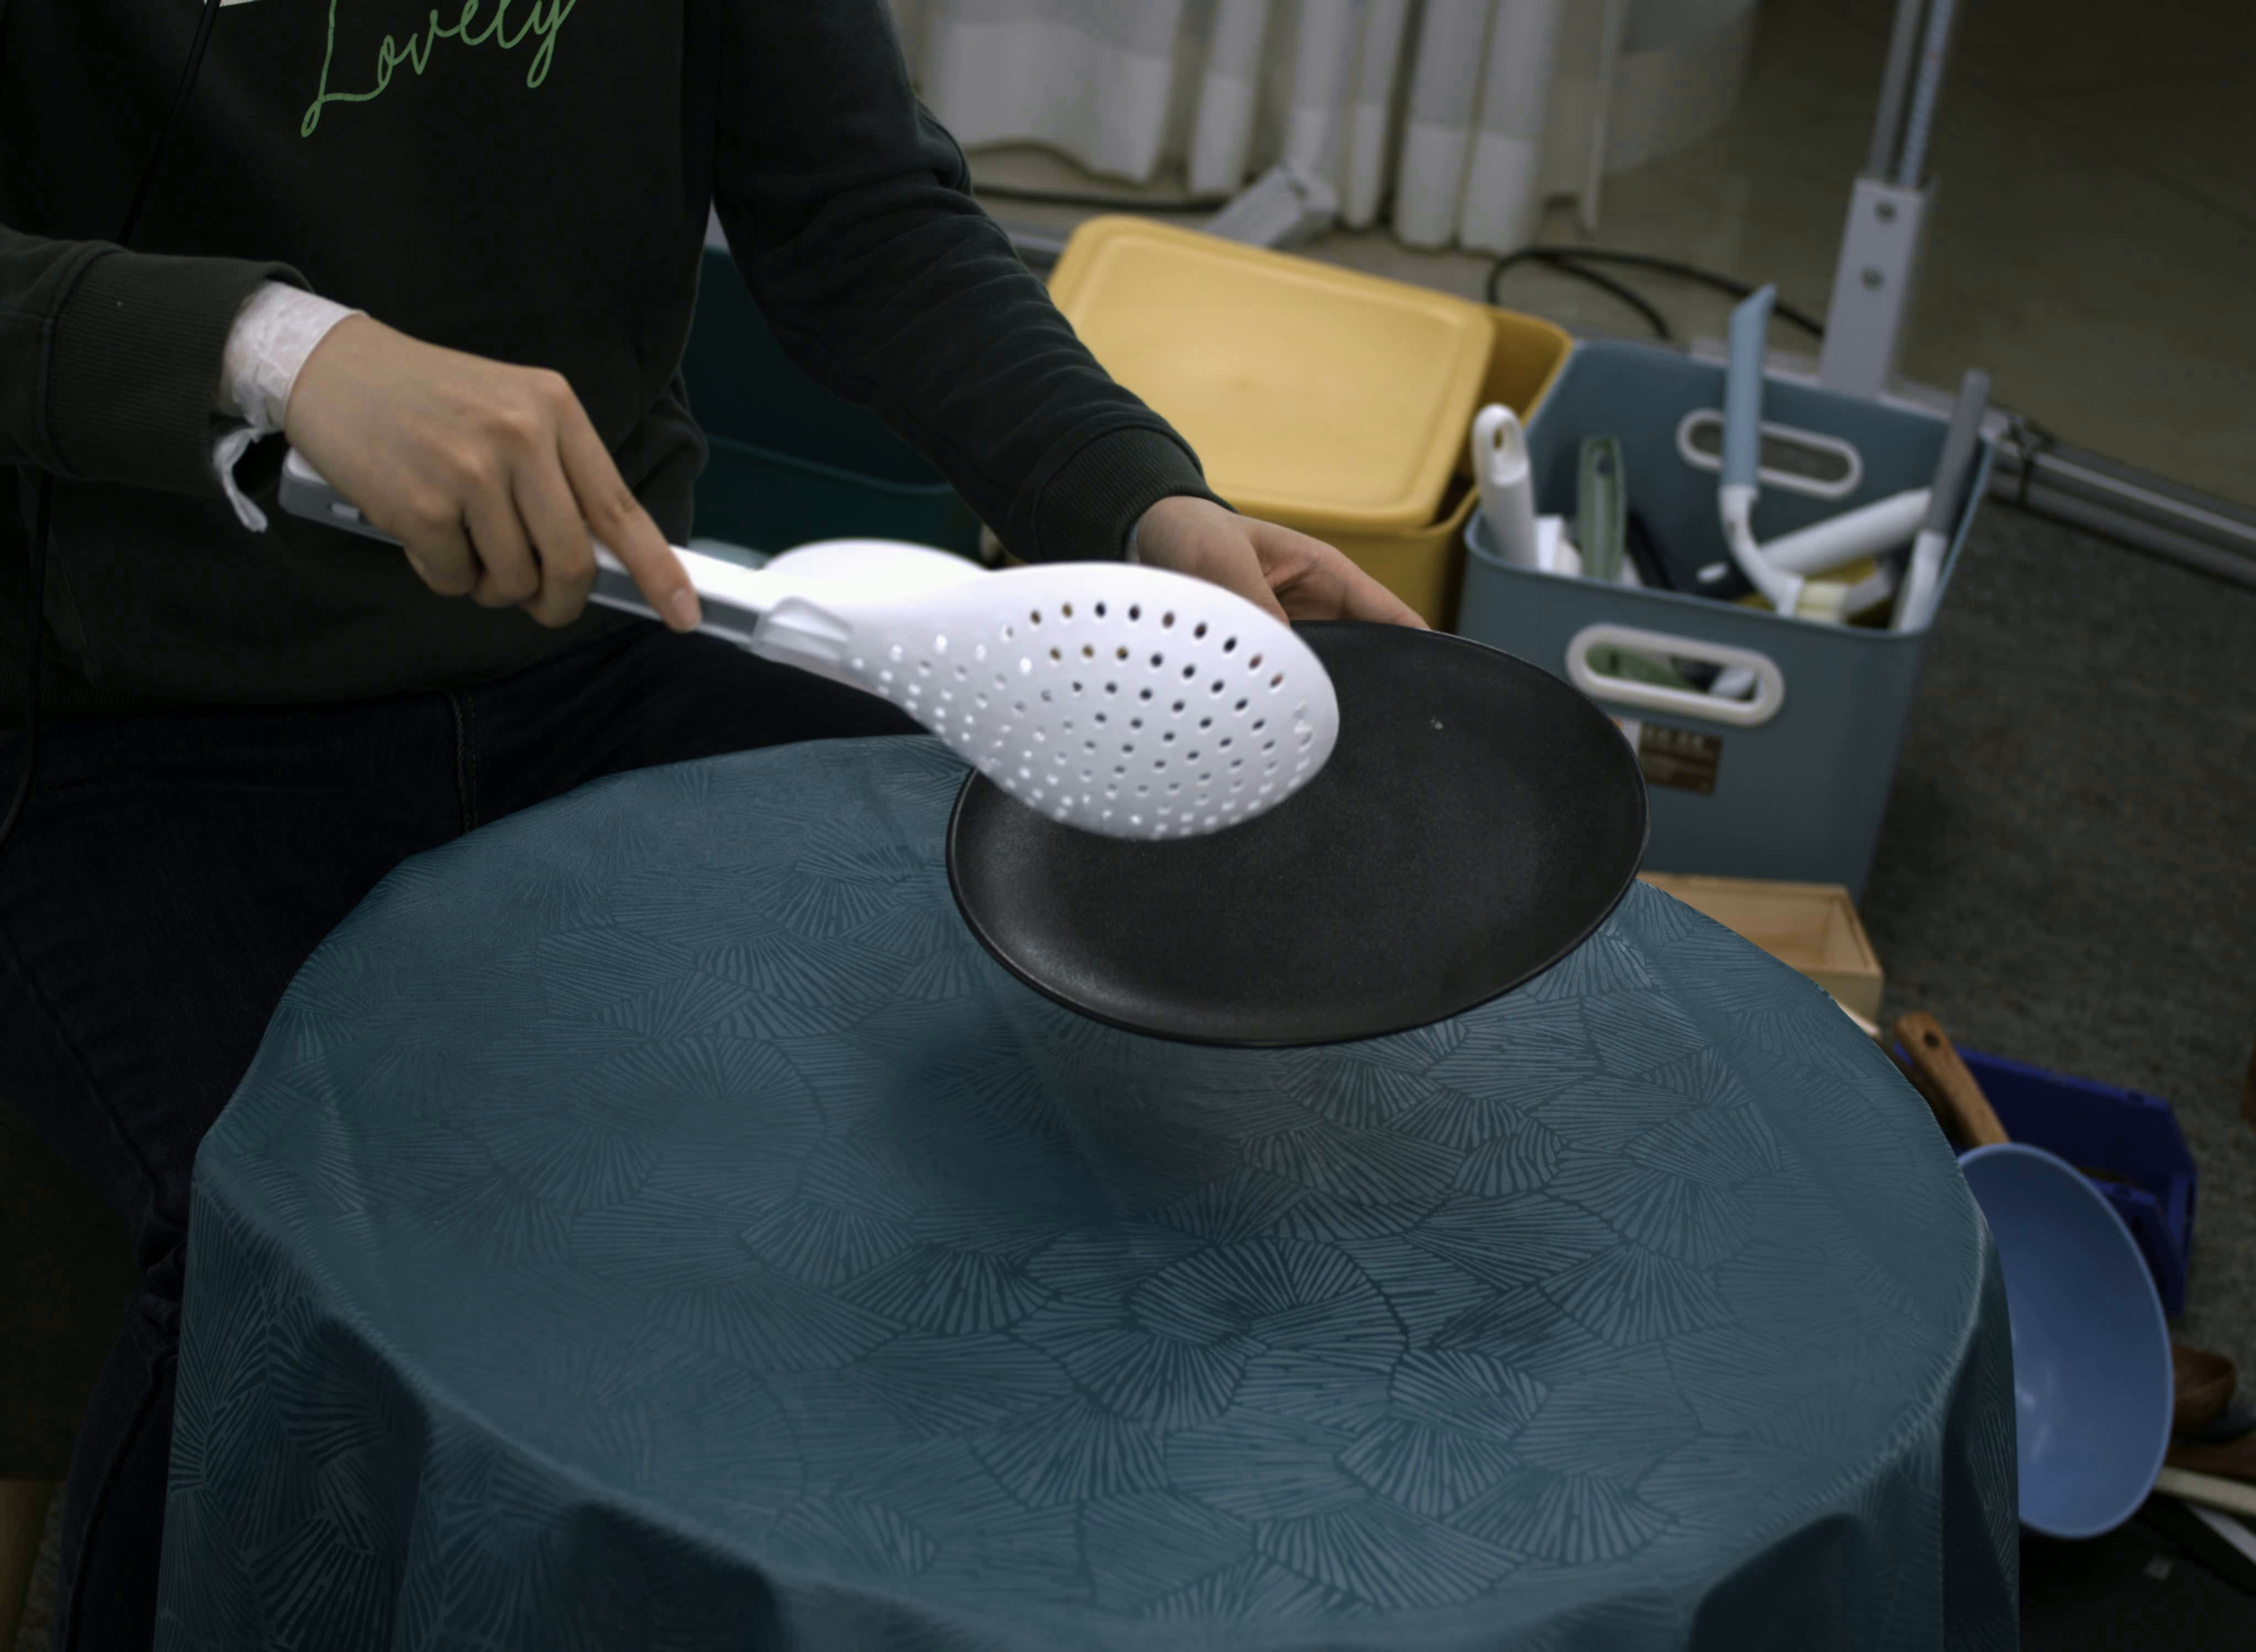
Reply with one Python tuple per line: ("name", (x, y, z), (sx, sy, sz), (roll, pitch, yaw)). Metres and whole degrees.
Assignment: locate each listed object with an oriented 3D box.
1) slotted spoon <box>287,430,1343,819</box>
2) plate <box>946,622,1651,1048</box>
("slotted spoon", (-0.101, -0.072, 1.724), (0.349, 0.135, 0.046), (19, 52, -3))
("plate", (0.059, 0.005, 1.834), (0.244, 0.023, 0.246), (-4, 36, 3))
